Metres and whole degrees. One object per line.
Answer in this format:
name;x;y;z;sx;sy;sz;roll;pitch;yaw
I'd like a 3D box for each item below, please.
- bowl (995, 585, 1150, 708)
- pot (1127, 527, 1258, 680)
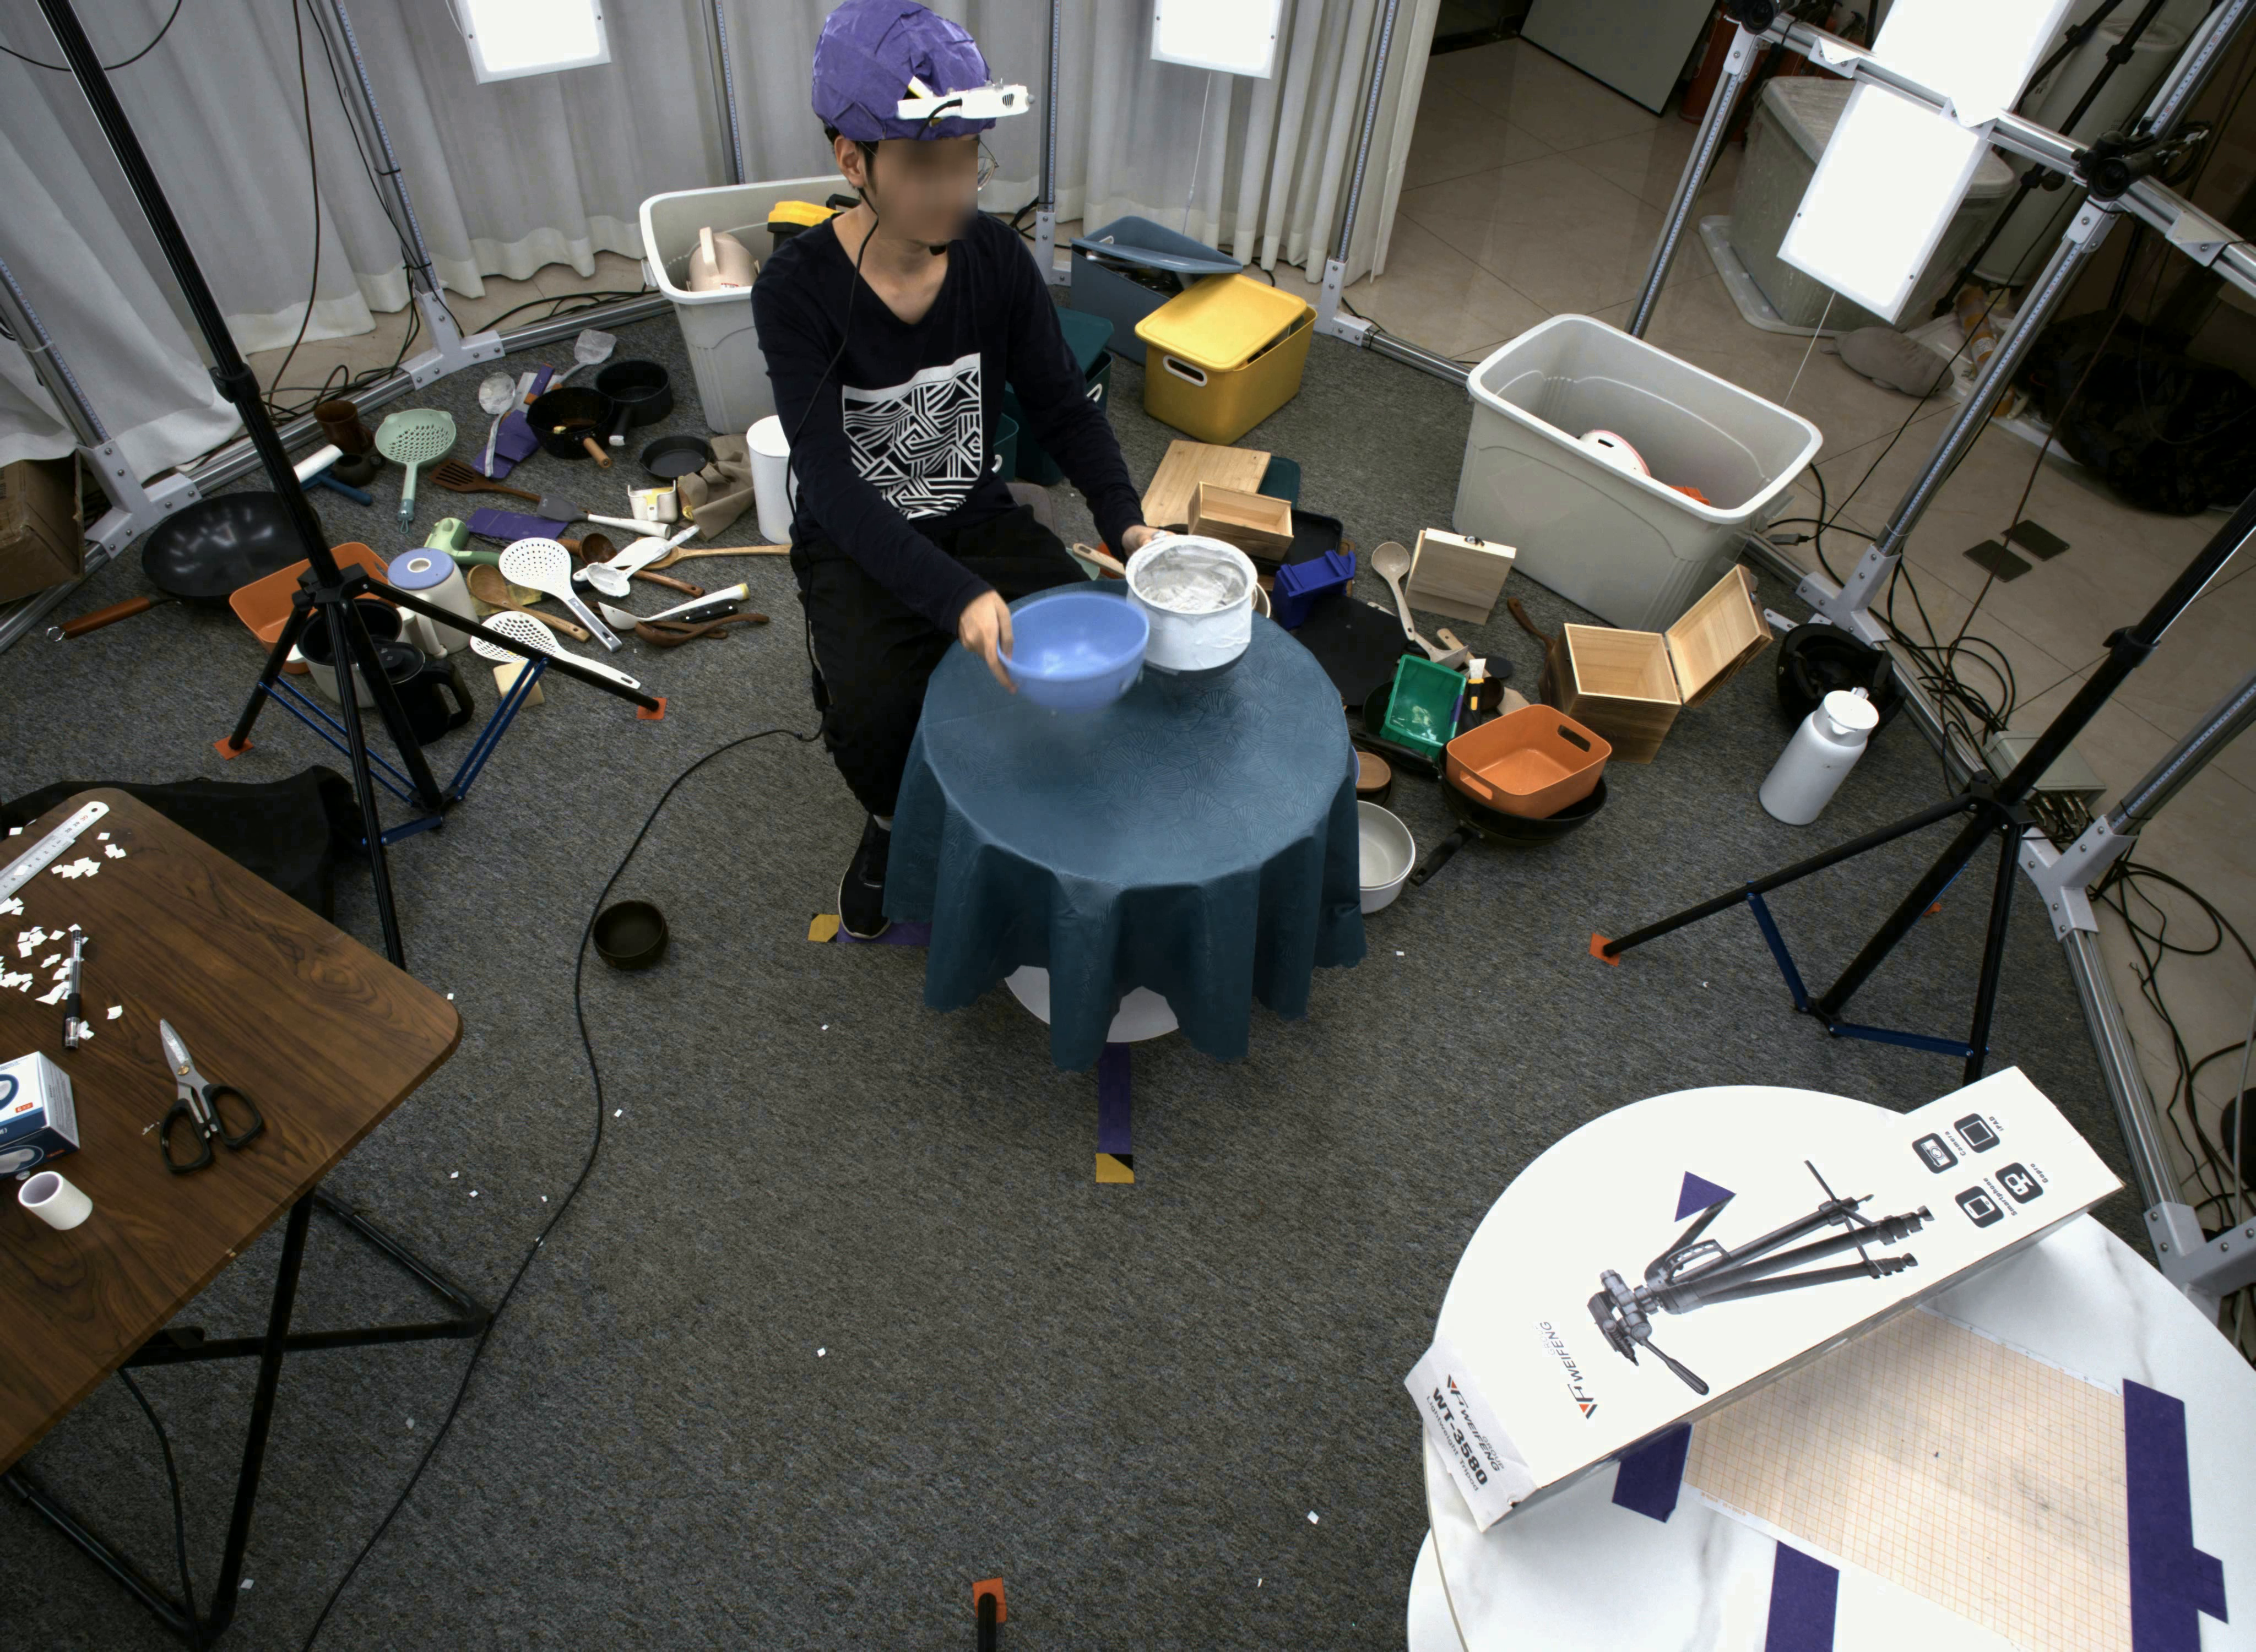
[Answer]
bowl;-0.065;-0.216;1.638;0.196;0.093;0.201;-5;41;4
pot;0.071;-0.317;1.786;0.179;0.133;0.239;-16;49;-19
